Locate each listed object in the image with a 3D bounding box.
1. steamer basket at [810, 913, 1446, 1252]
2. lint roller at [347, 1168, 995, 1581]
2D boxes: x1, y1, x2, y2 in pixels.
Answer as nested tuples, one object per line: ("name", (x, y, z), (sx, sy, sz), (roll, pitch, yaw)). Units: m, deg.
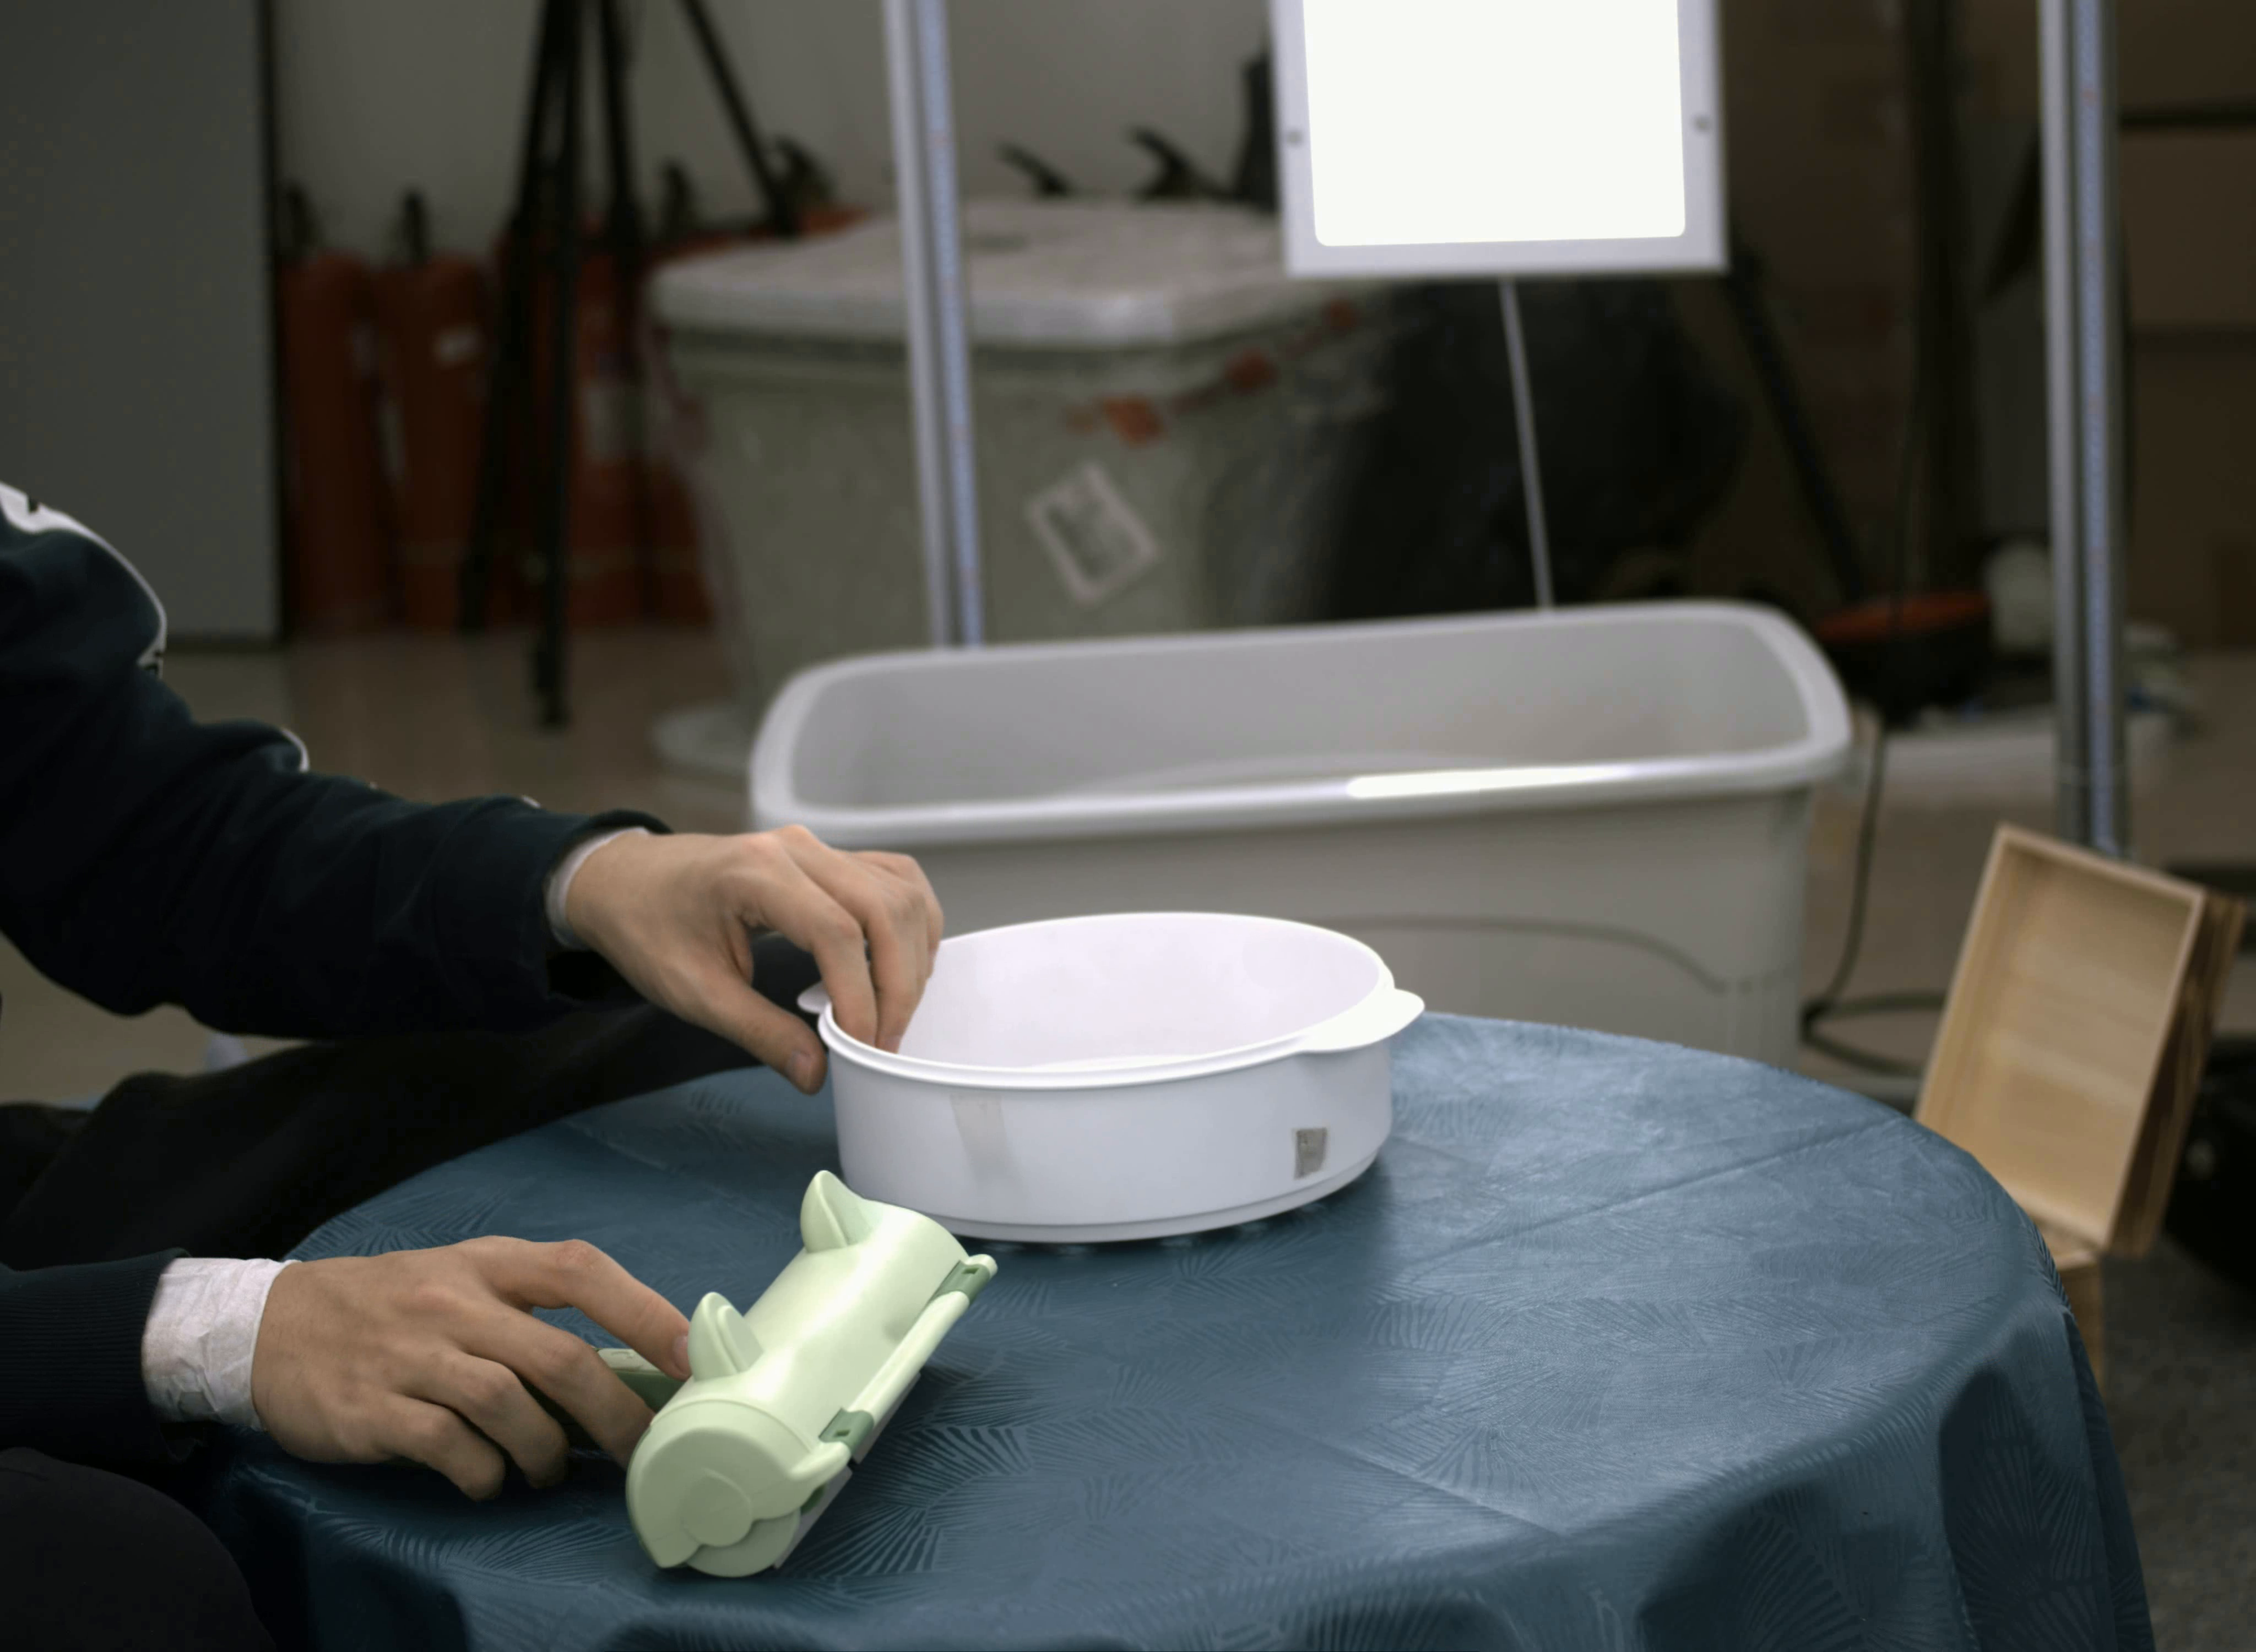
("steamer basket", (0.000, 0.088, 1.908), (0.234, 0.069, 0.197), (4, 17, 28))
("lint roller", (-0.150, 0.157, 1.663), (0.185, 0.082, 0.196), (3, 15, 14))
